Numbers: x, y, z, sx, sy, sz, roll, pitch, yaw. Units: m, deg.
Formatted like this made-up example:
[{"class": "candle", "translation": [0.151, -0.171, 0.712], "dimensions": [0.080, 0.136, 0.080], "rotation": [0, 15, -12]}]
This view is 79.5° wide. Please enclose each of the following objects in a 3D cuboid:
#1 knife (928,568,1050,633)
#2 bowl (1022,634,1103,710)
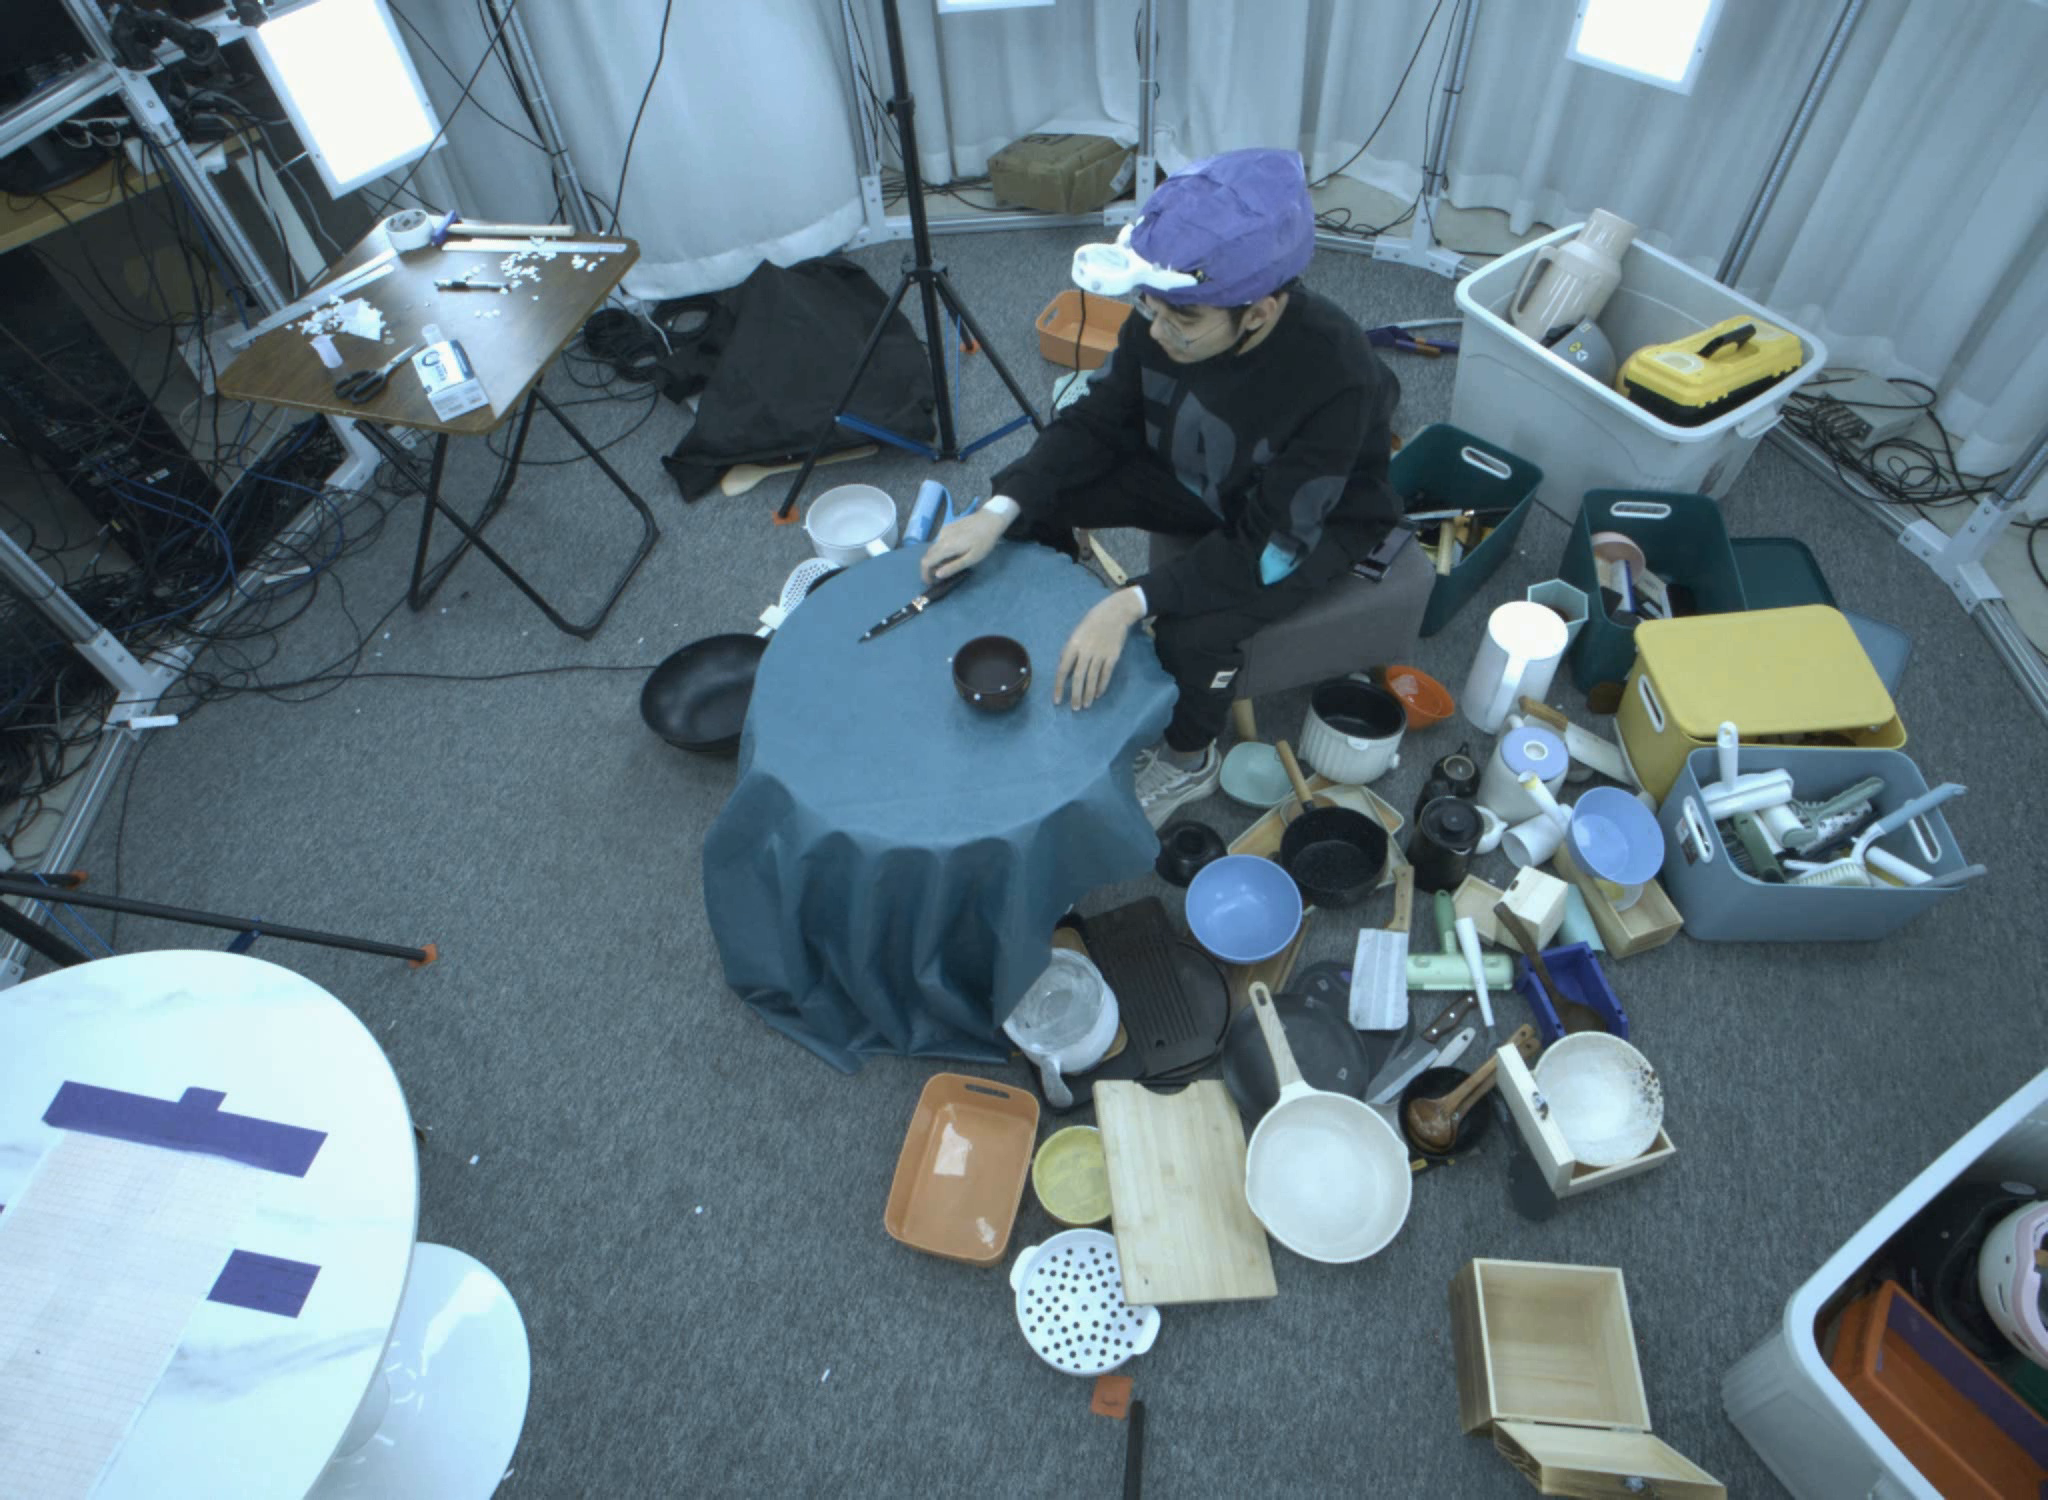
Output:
[{"class": "knife", "translation": [-0.055, -0.235, 1.938], "dimensions": [0.227, 0.026, 0.017], "rotation": [-30, 82, -16]}, {"class": "bowl", "translation": [0.057, -0.107, 1.814], "dimensions": [0.118, 0.070, 0.117], "rotation": [0, 54, 1]}]
